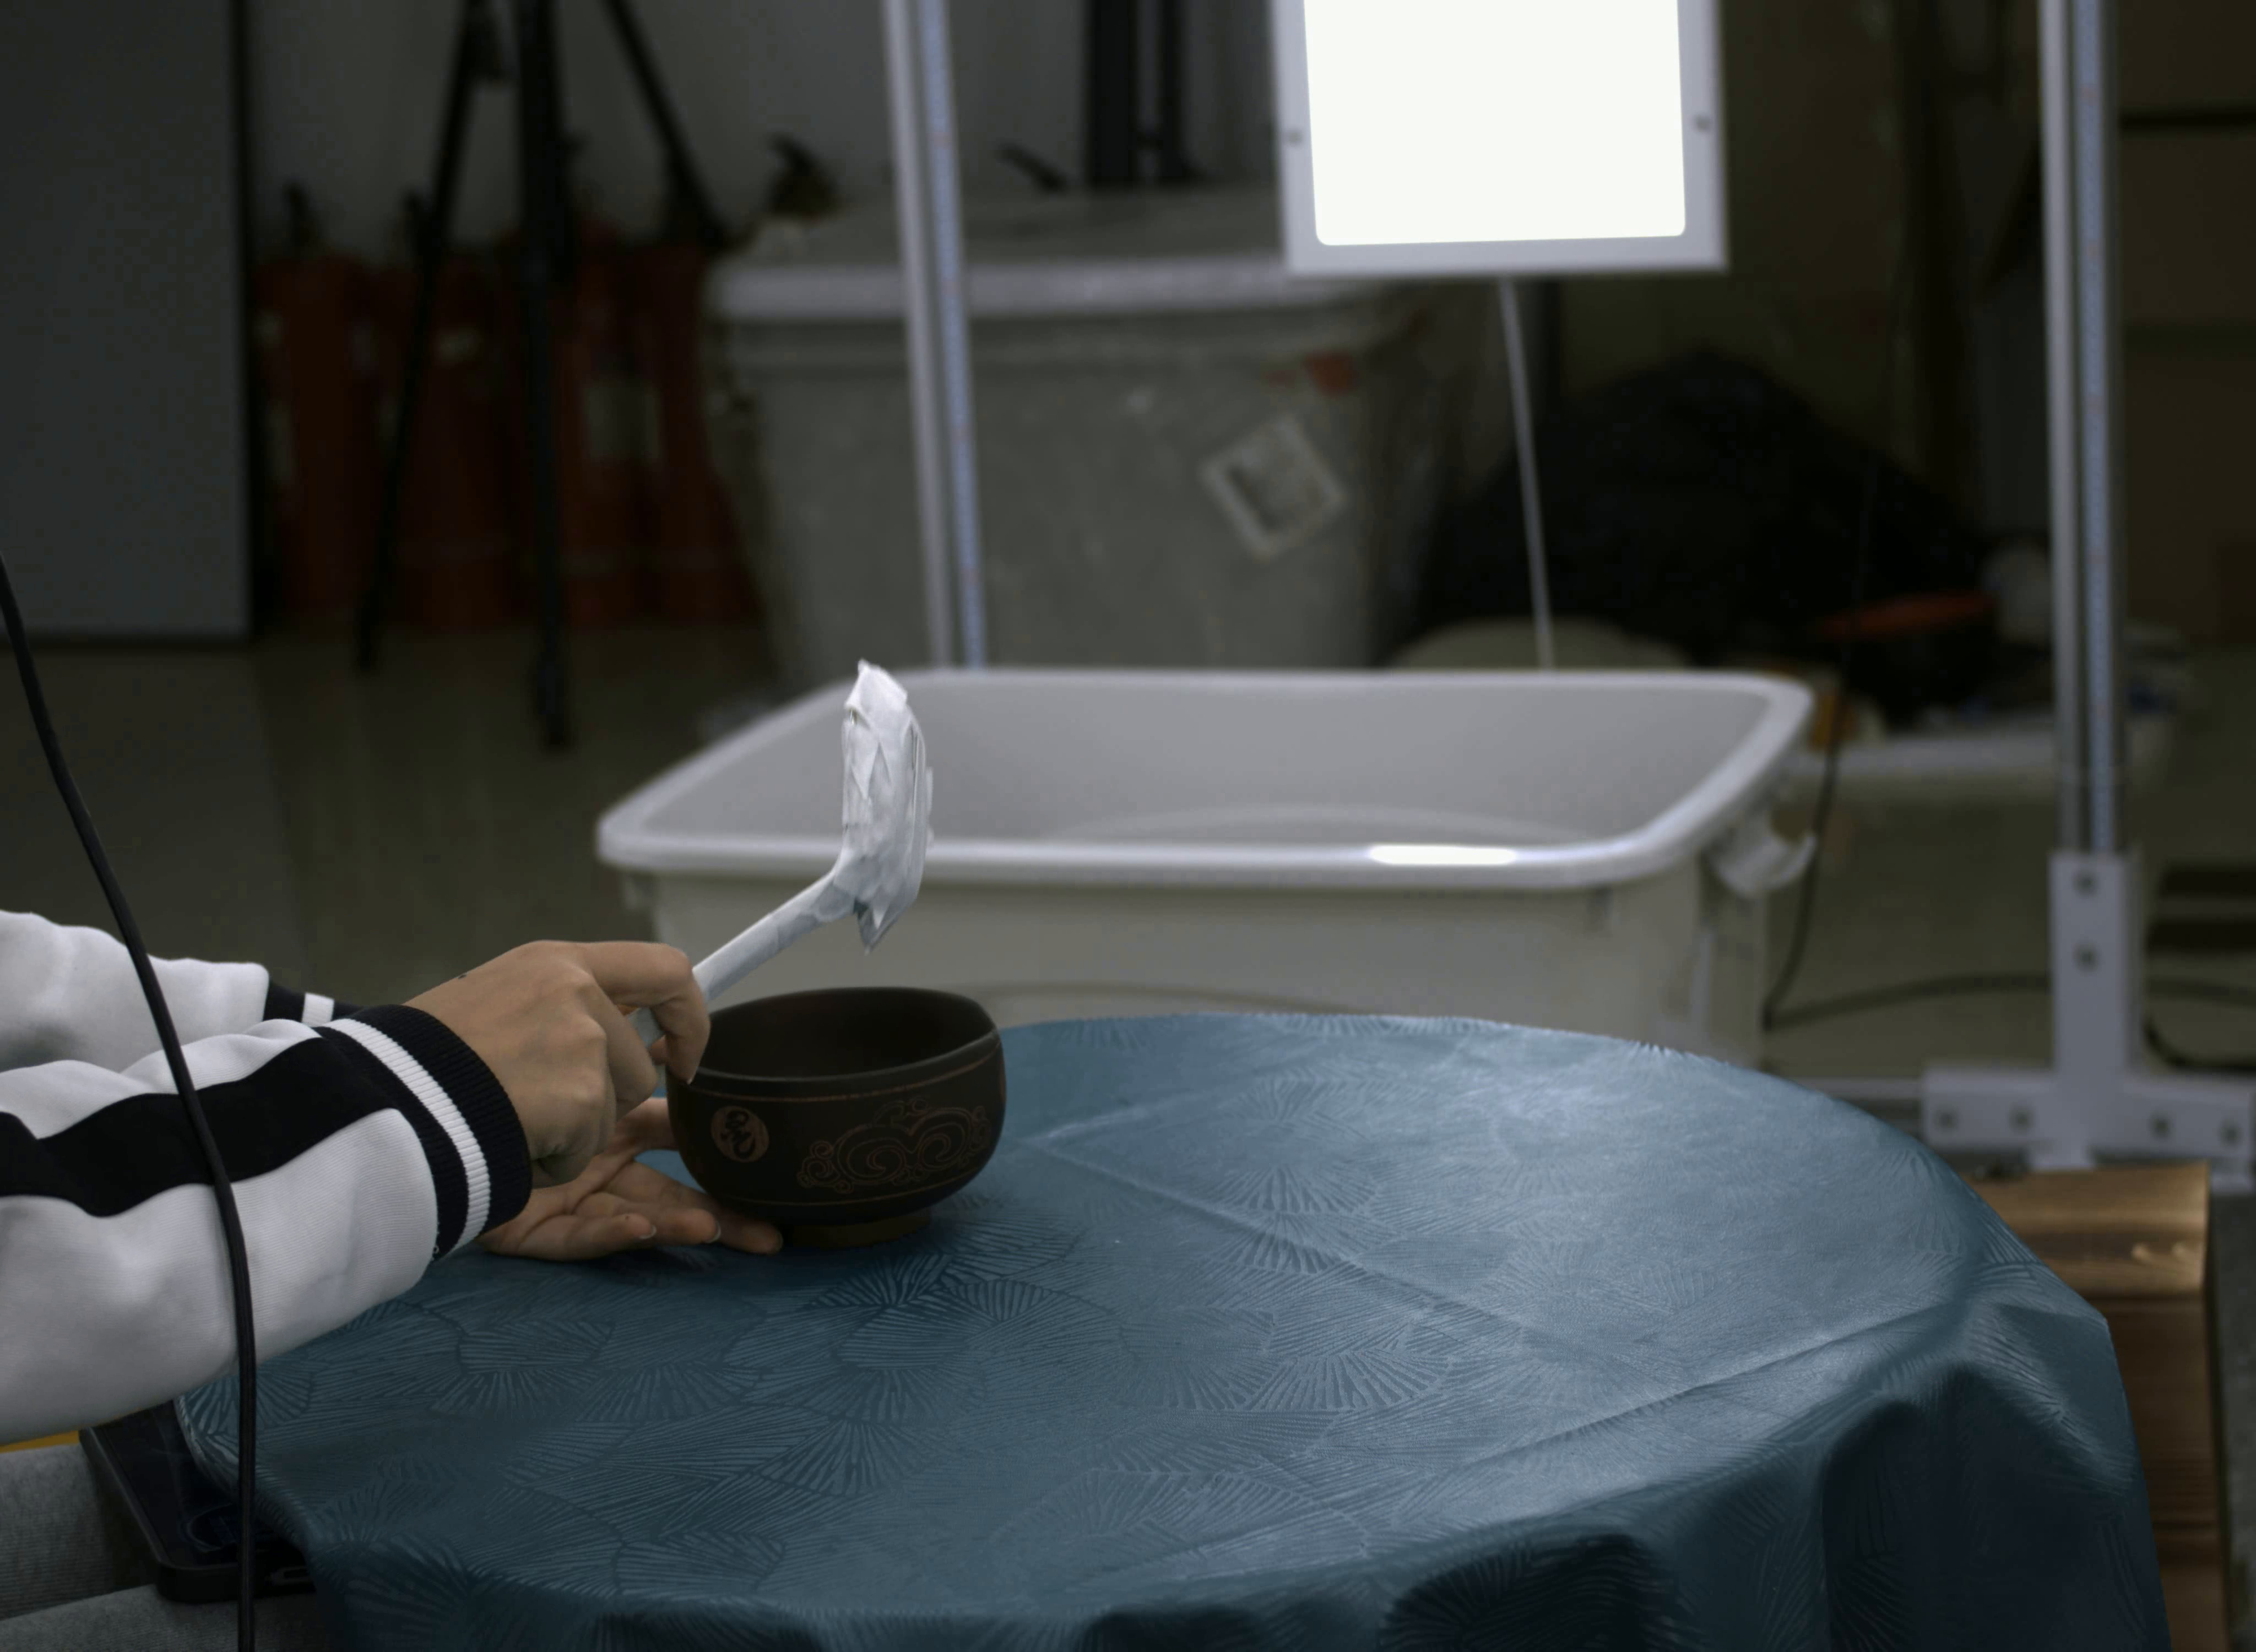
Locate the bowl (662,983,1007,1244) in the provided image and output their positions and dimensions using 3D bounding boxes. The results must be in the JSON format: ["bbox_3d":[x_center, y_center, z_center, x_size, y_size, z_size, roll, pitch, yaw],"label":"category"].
[{"bbox_3d":[-0.099,0.101,1.883,0.118,0.070,0.118,-5,13,0],"label":"bowl"}]

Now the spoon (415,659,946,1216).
[{"bbox_3d":[-0.143,0.044,1.763,0.060,0.101,0.271,18,43,40],"label":"spoon"}]
